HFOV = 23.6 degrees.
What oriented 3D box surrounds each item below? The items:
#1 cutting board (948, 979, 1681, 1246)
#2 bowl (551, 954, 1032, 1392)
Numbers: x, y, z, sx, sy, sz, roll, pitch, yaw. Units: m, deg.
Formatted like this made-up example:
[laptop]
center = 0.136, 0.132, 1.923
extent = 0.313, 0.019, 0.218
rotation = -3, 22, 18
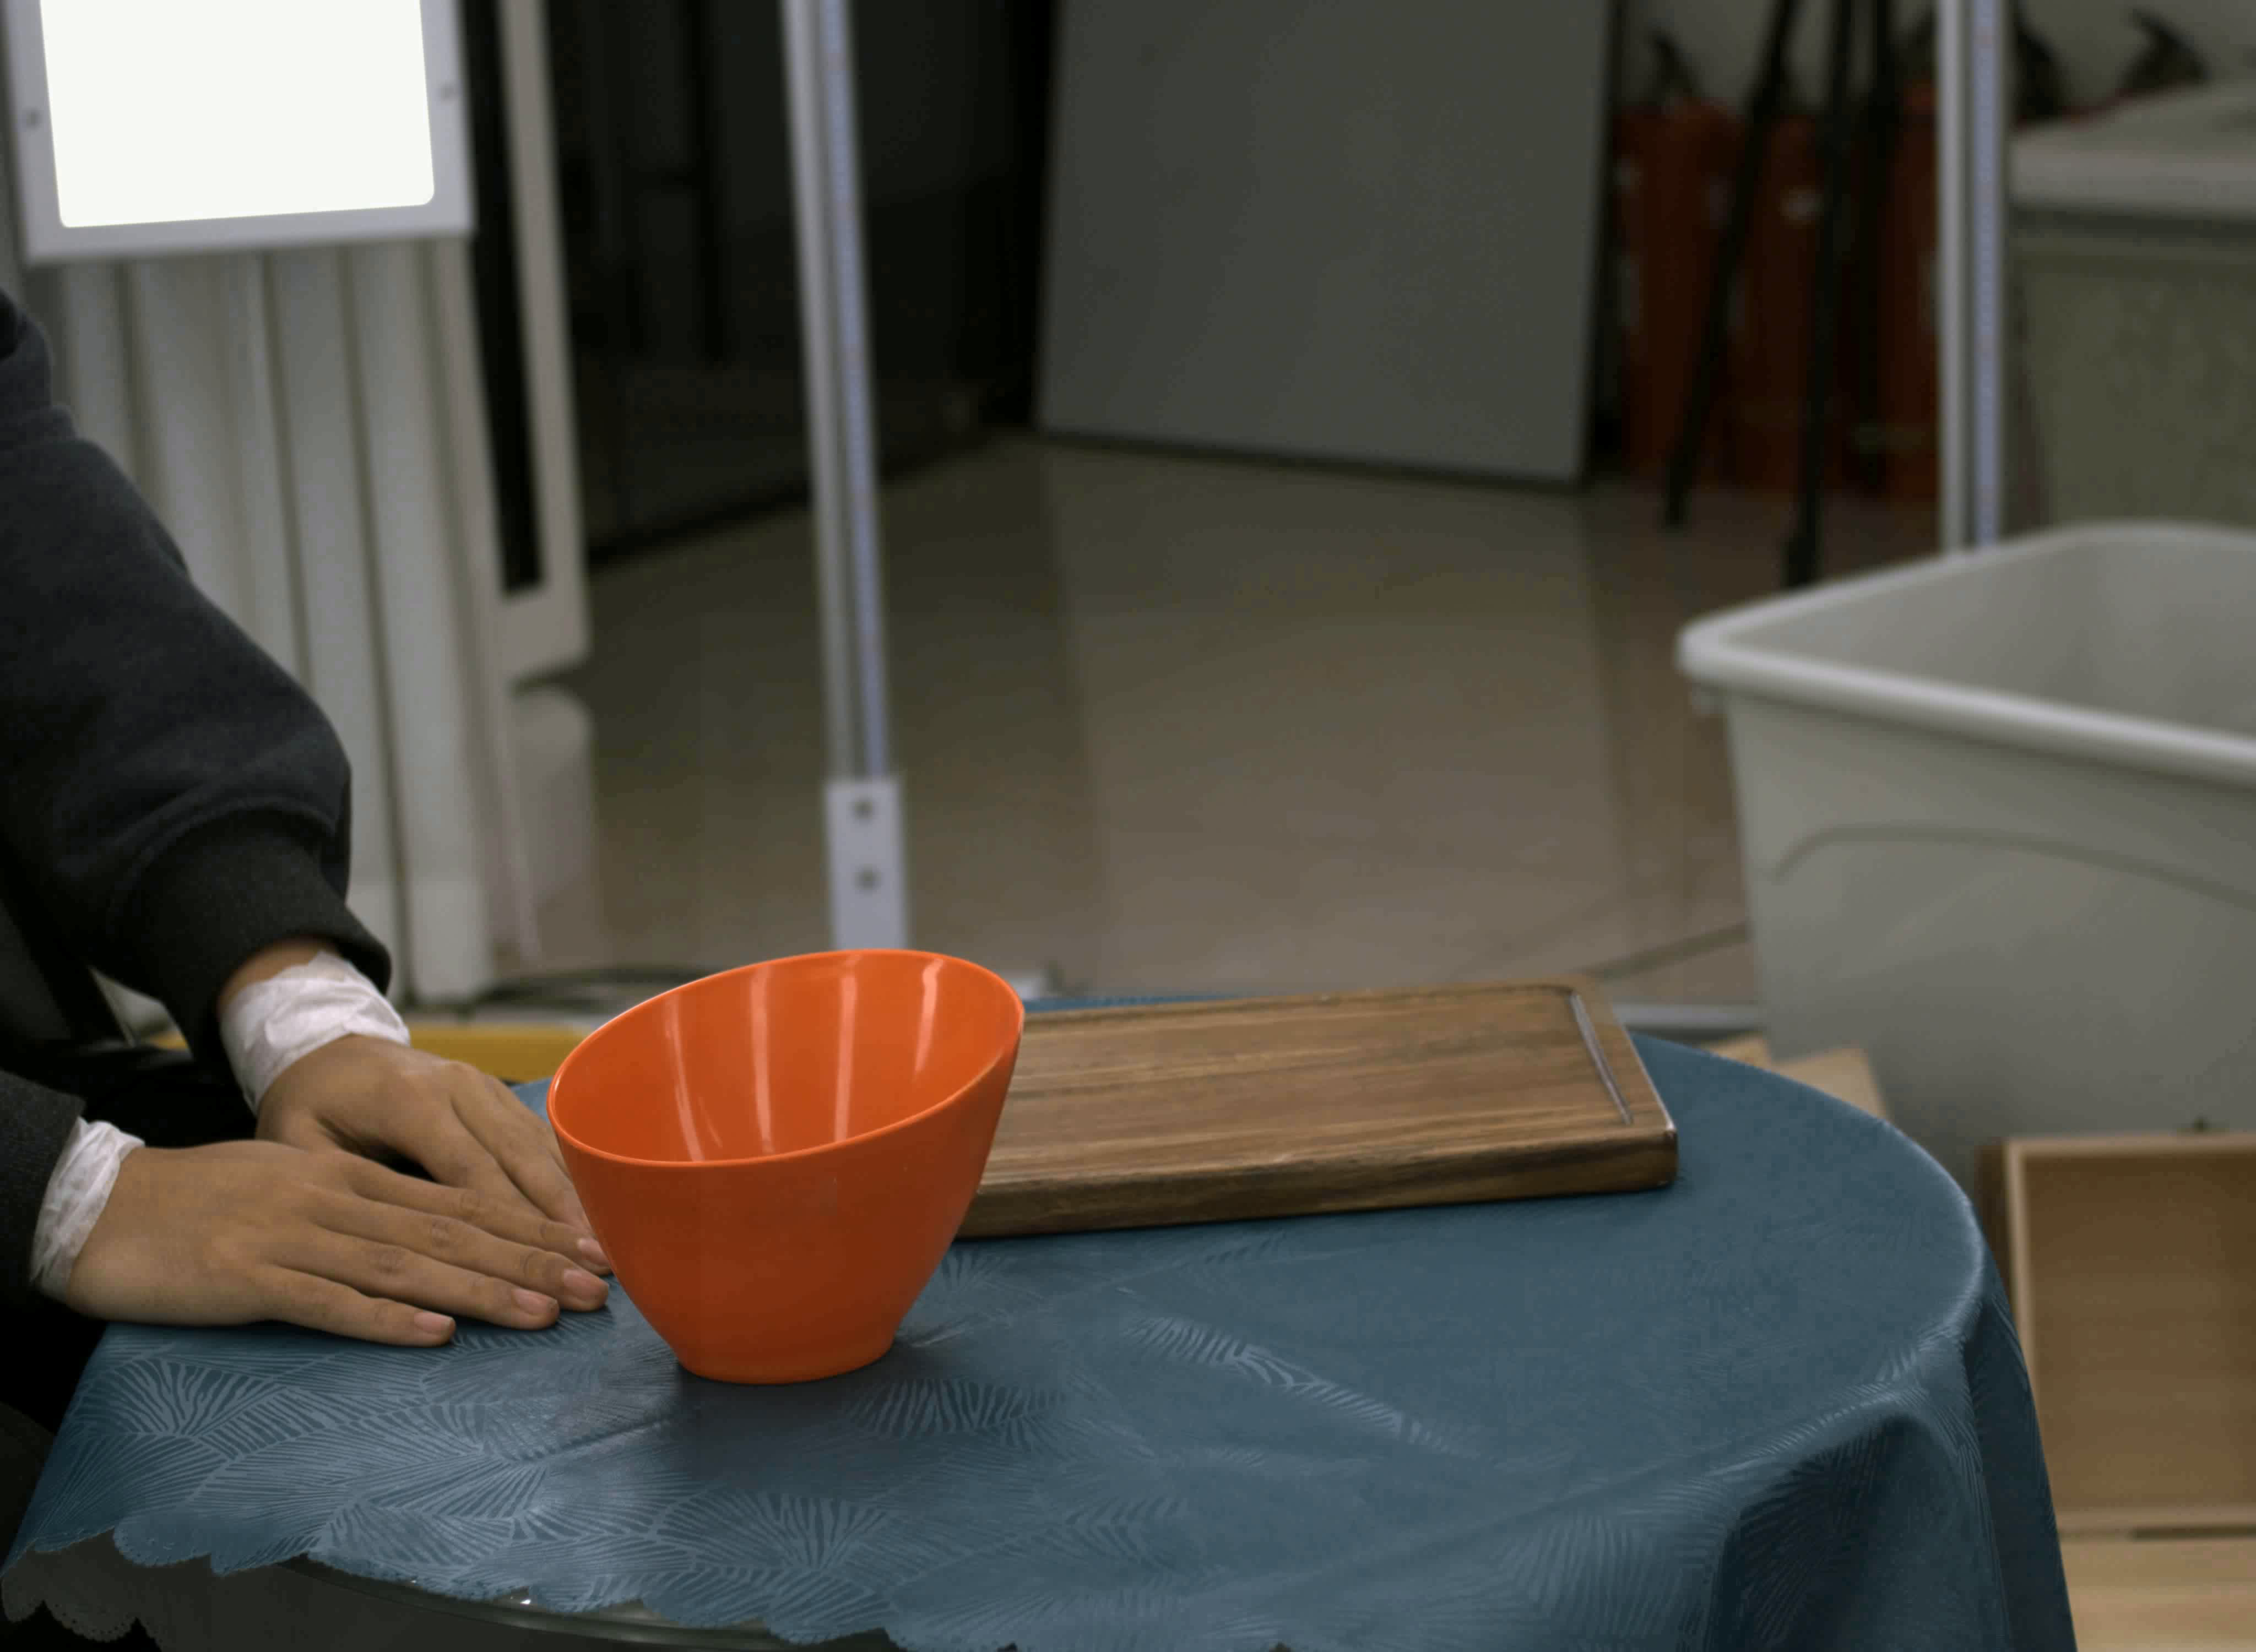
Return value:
[cutting board]
center = 0.001, 0.098, 1.821
extent = 0.347, 0.023, 0.201
rotation = -5, 13, -1
[bowl]
center = -0.099, 0.108, 1.636
extent = 0.146, 0.106, 0.148
rotation = -3, 13, 0
